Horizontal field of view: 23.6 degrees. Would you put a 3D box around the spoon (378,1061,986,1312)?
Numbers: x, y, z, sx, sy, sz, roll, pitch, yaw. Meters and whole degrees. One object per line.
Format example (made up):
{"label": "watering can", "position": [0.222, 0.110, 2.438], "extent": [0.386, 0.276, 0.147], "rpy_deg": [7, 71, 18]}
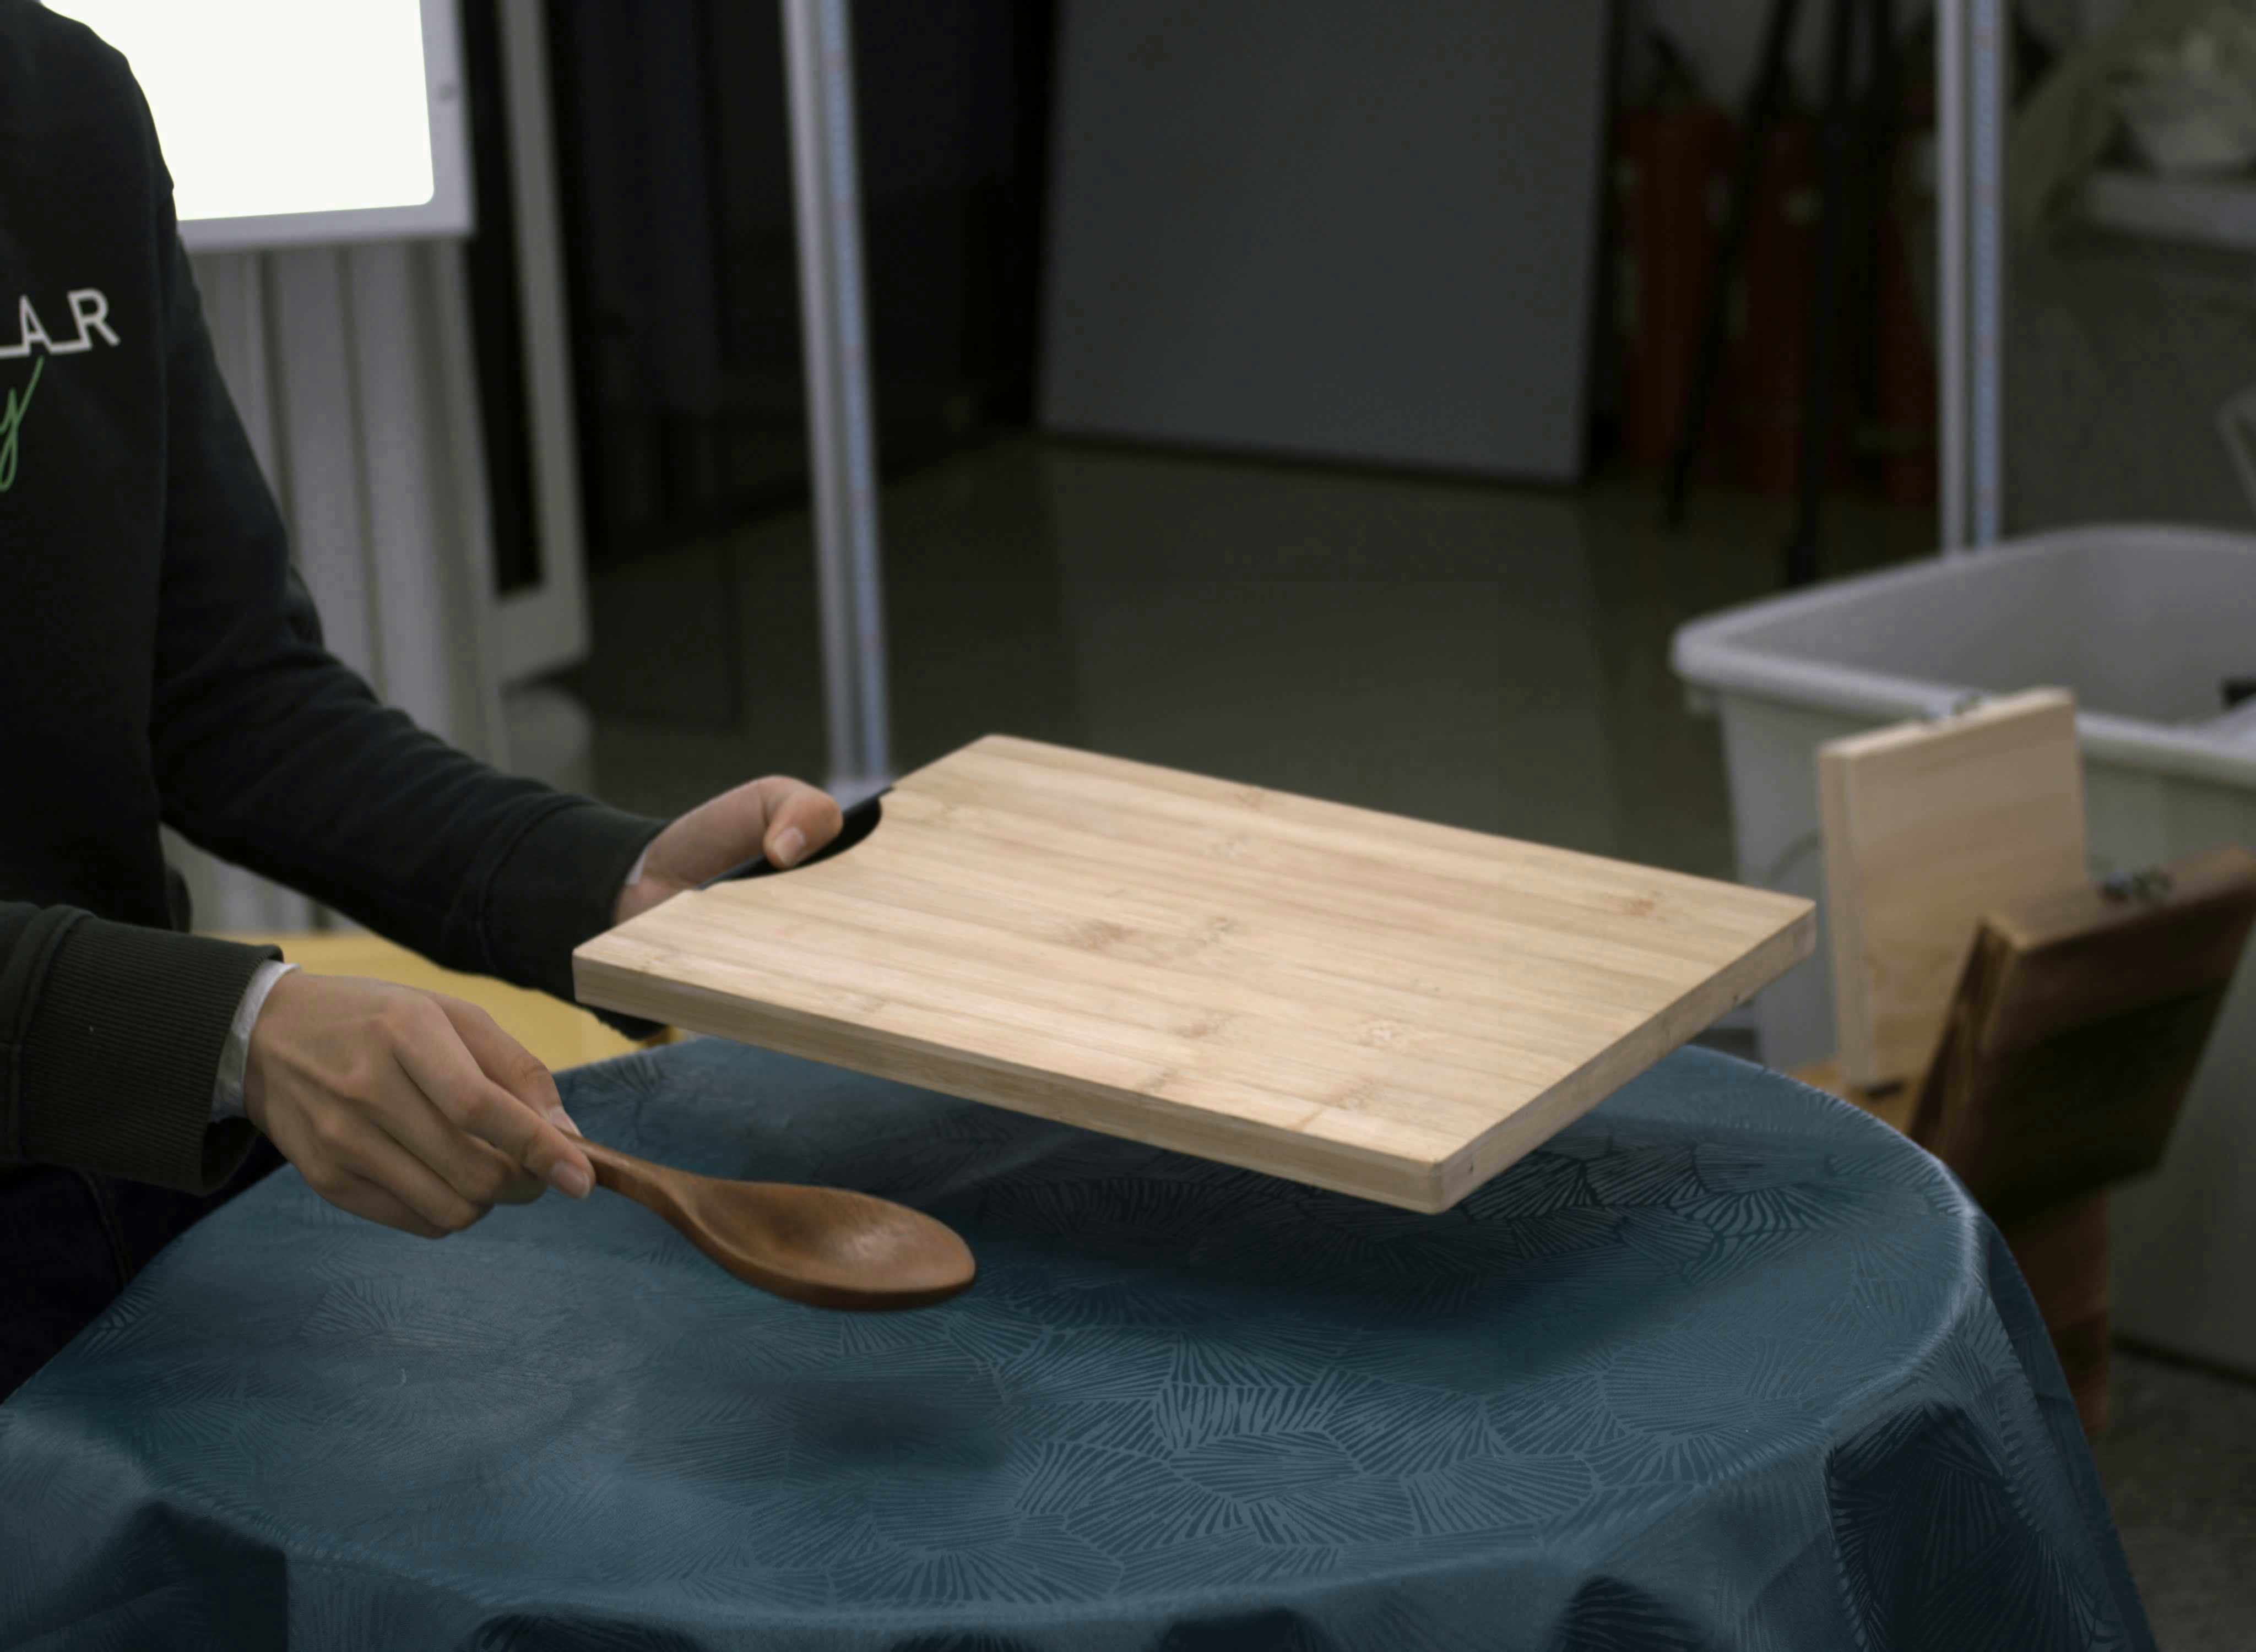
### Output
{"label": "spoon", "position": [-0.136, 0.107, 1.602], "extent": [0.217, 0.017, 0.074], "rpy_deg": [18, 22, 30]}

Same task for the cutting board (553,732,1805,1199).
{"label": "cutting board", "position": [0.016, 0.039, 1.774], "extent": [0.351, 0.024, 0.247], "rpy_deg": [11, 24, 34]}
